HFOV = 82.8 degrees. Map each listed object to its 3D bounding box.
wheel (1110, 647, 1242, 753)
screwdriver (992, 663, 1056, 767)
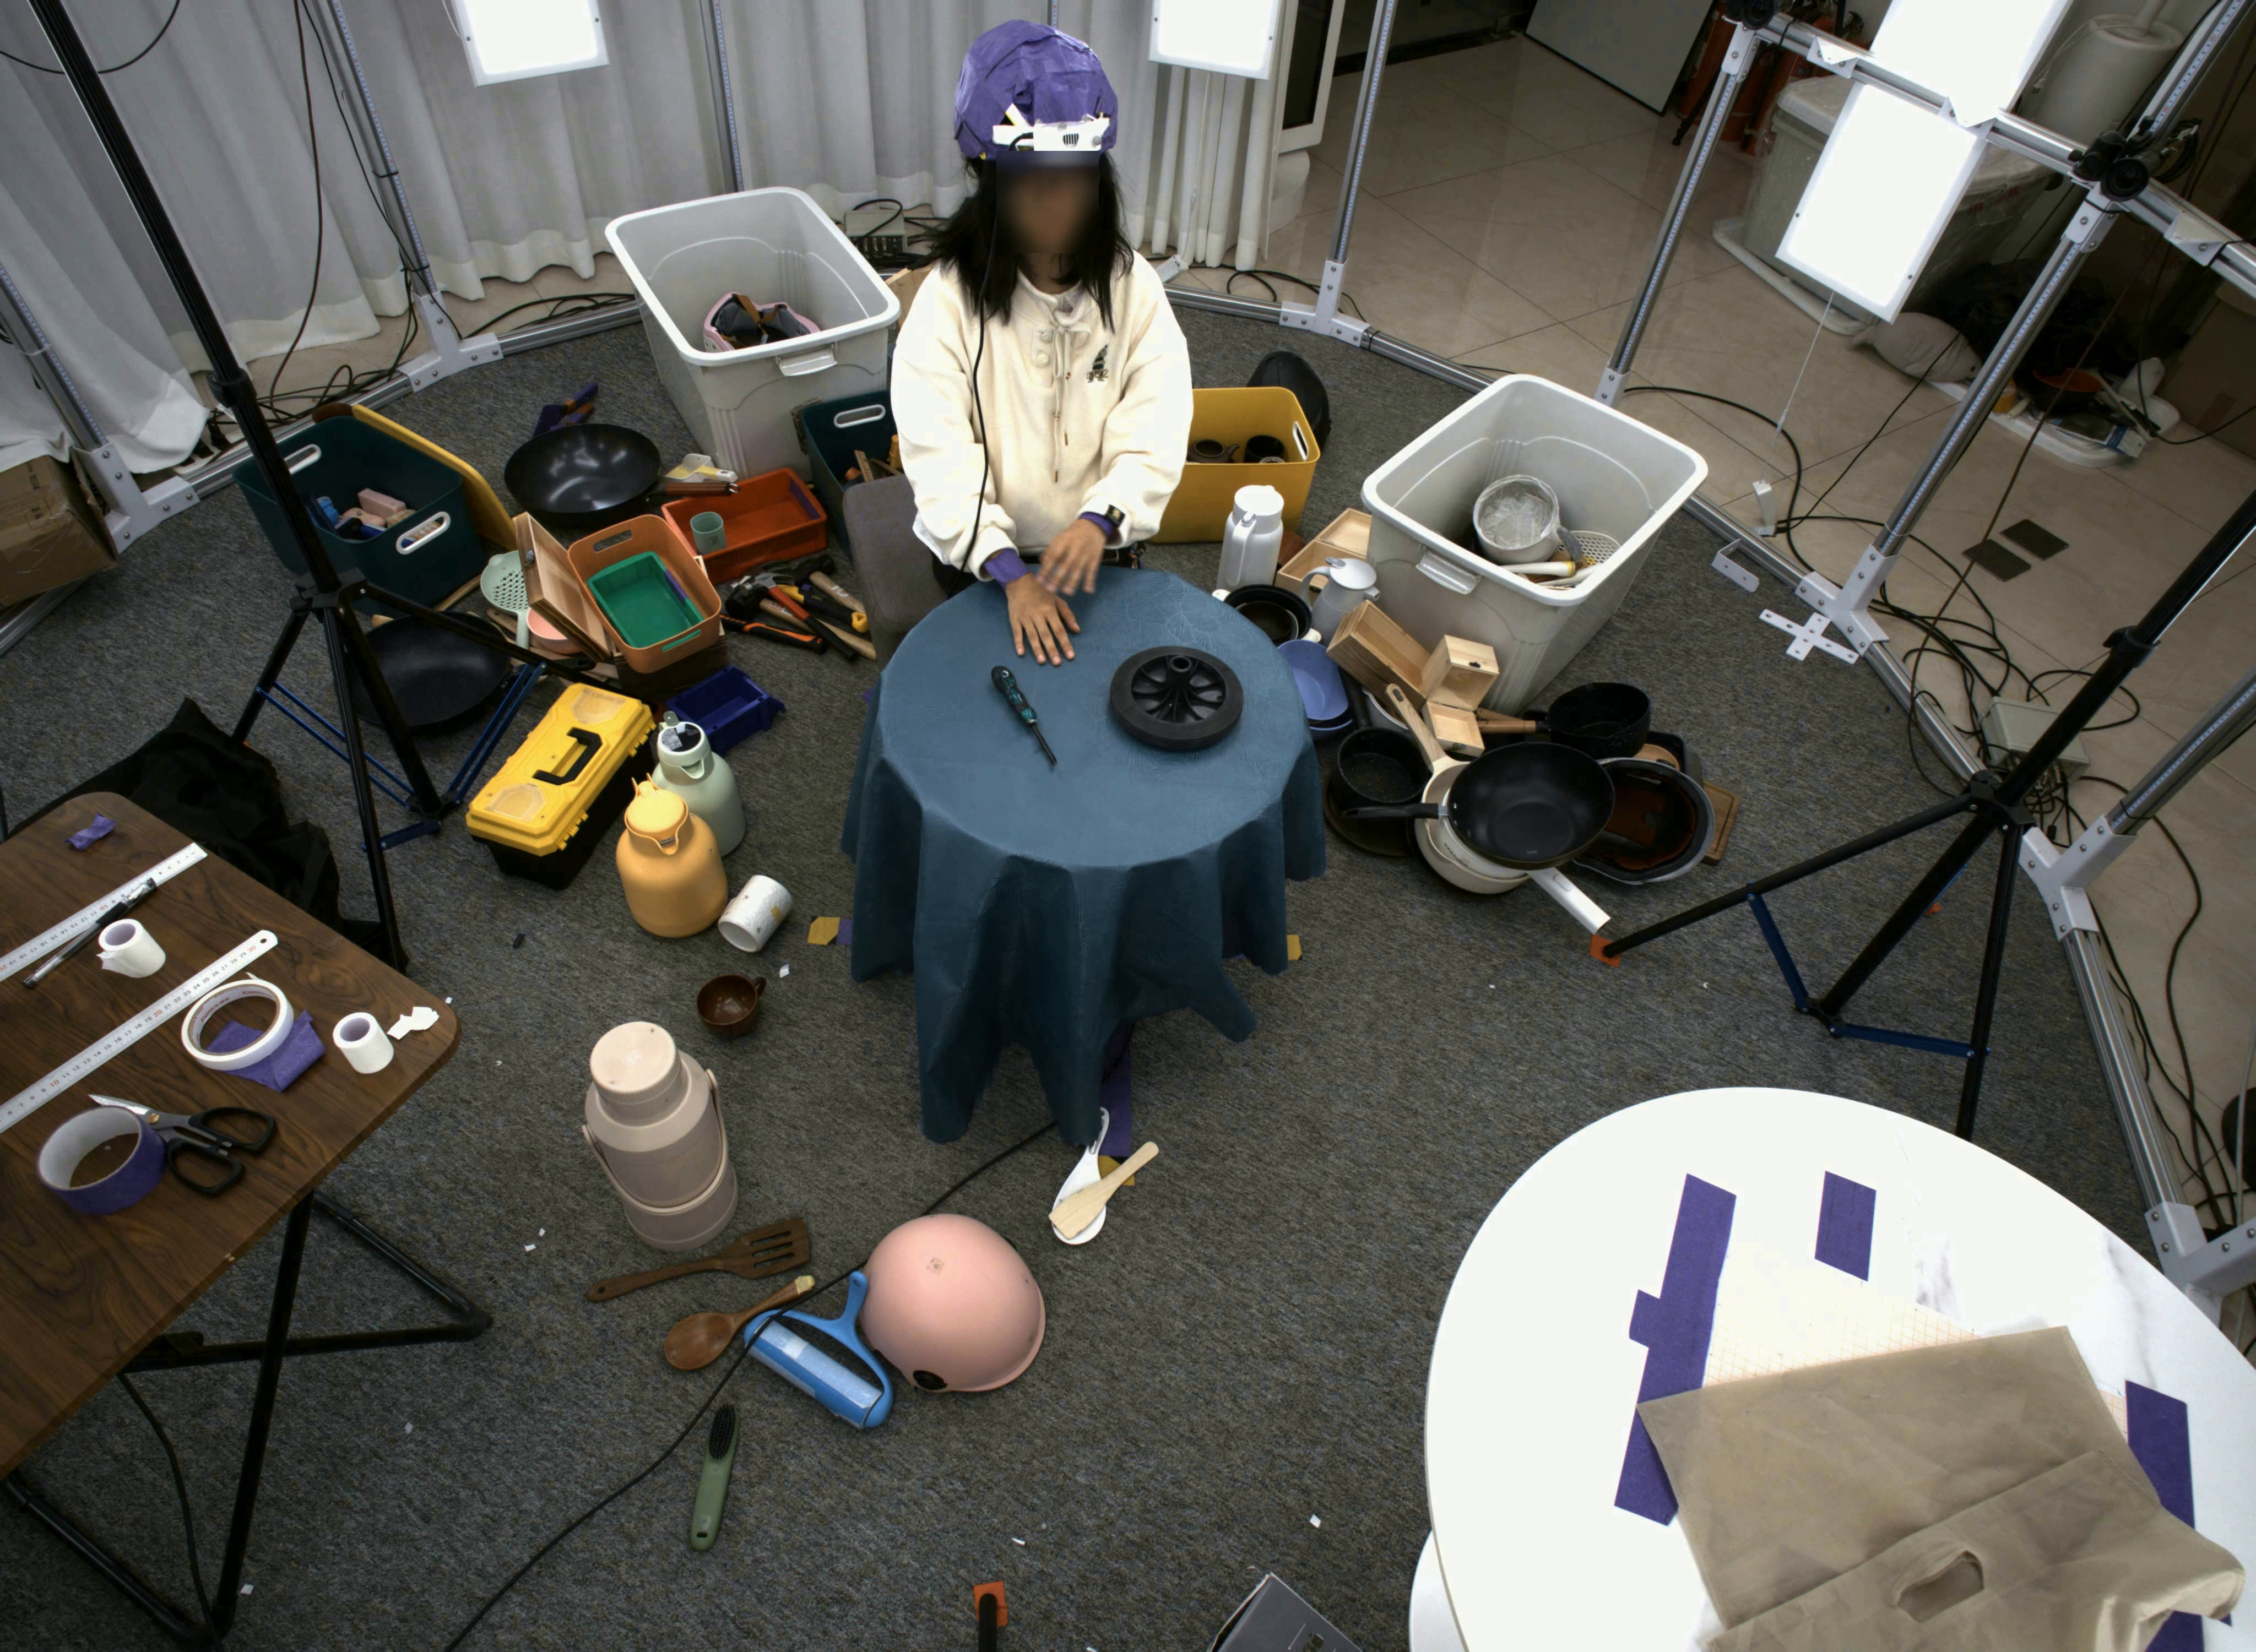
[{"bbox_3d":[0.069,-0.193,1.794,0.187,0.077,0.194,5,52,1],"label":"wheel"},{"bbox_3d":[-0.142,-0.152,1.779,0.034,0.033,0.194,-19,58,-20],"label":"screwdriver"}]
